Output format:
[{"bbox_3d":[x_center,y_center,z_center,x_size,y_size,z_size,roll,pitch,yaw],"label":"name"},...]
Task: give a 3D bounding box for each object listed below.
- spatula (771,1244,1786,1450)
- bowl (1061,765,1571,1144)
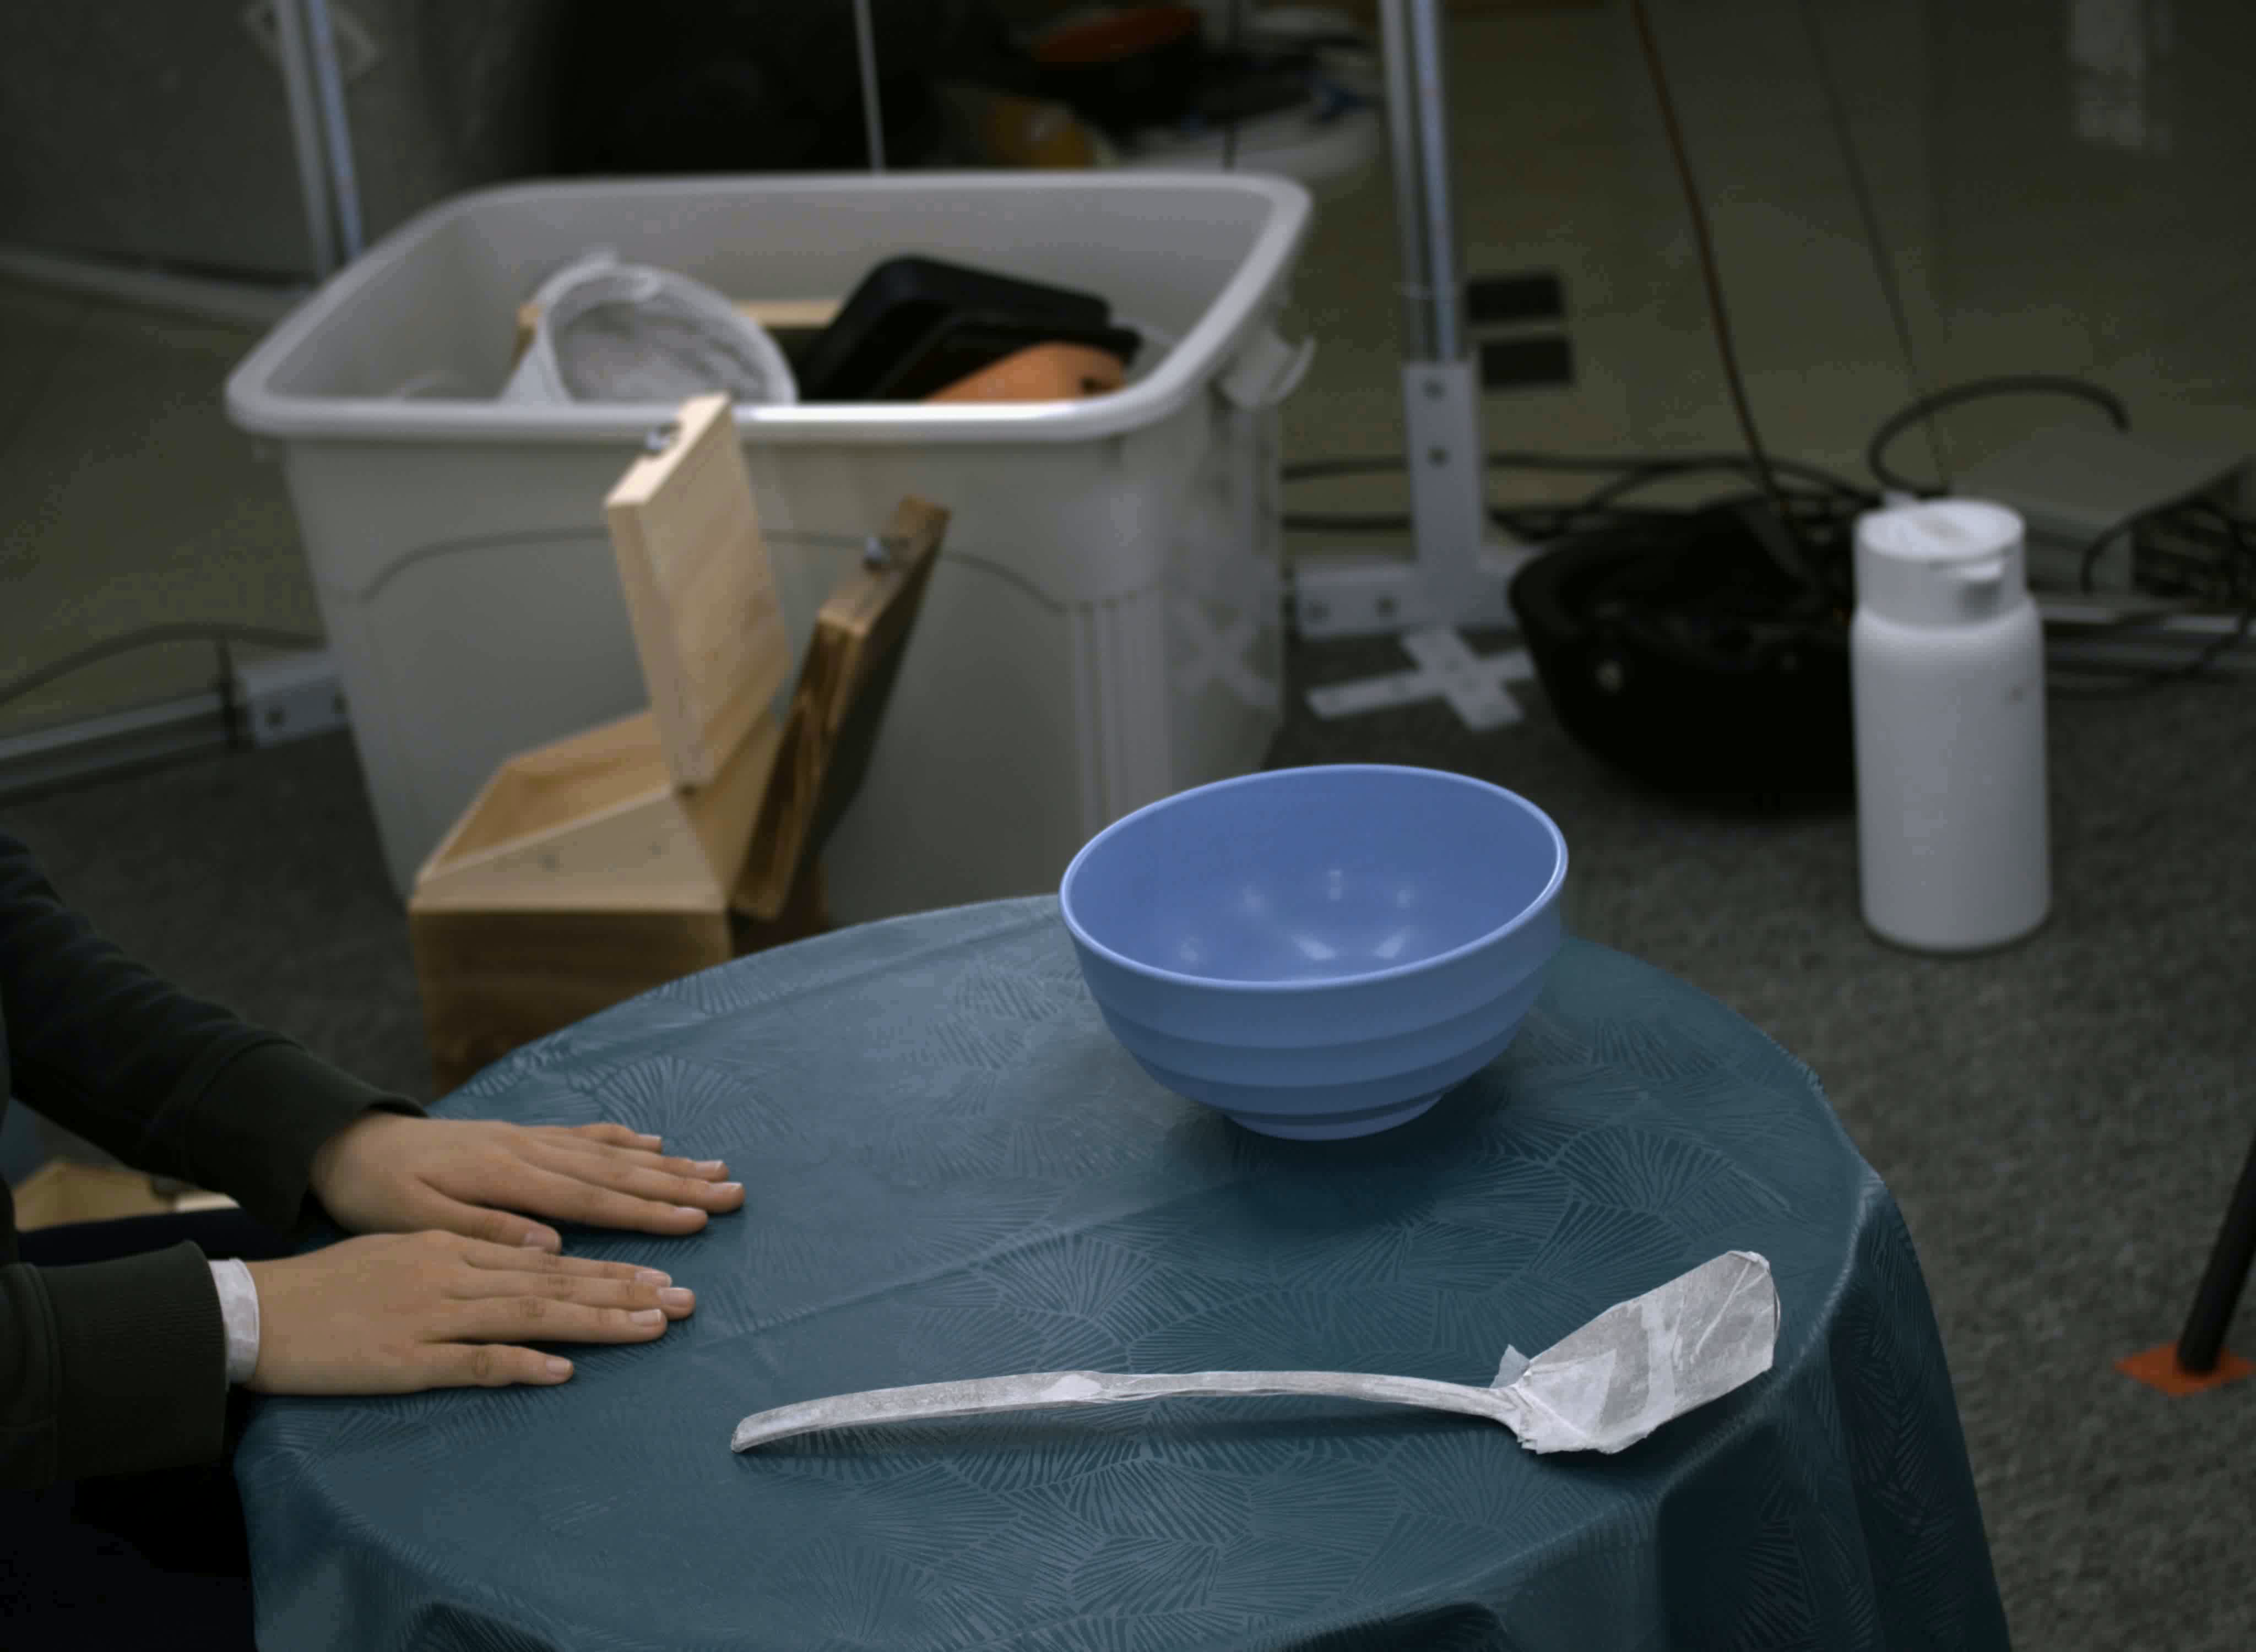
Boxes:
[{"bbox_3d":[0.048,0.190,1.985,0.364,0.045,0.097,-2,27,9],"label":"spatula"},{"bbox_3d":[0.076,0.060,2.191,0.196,0.097,0.193,-4,26,2],"label":"bowl"}]
